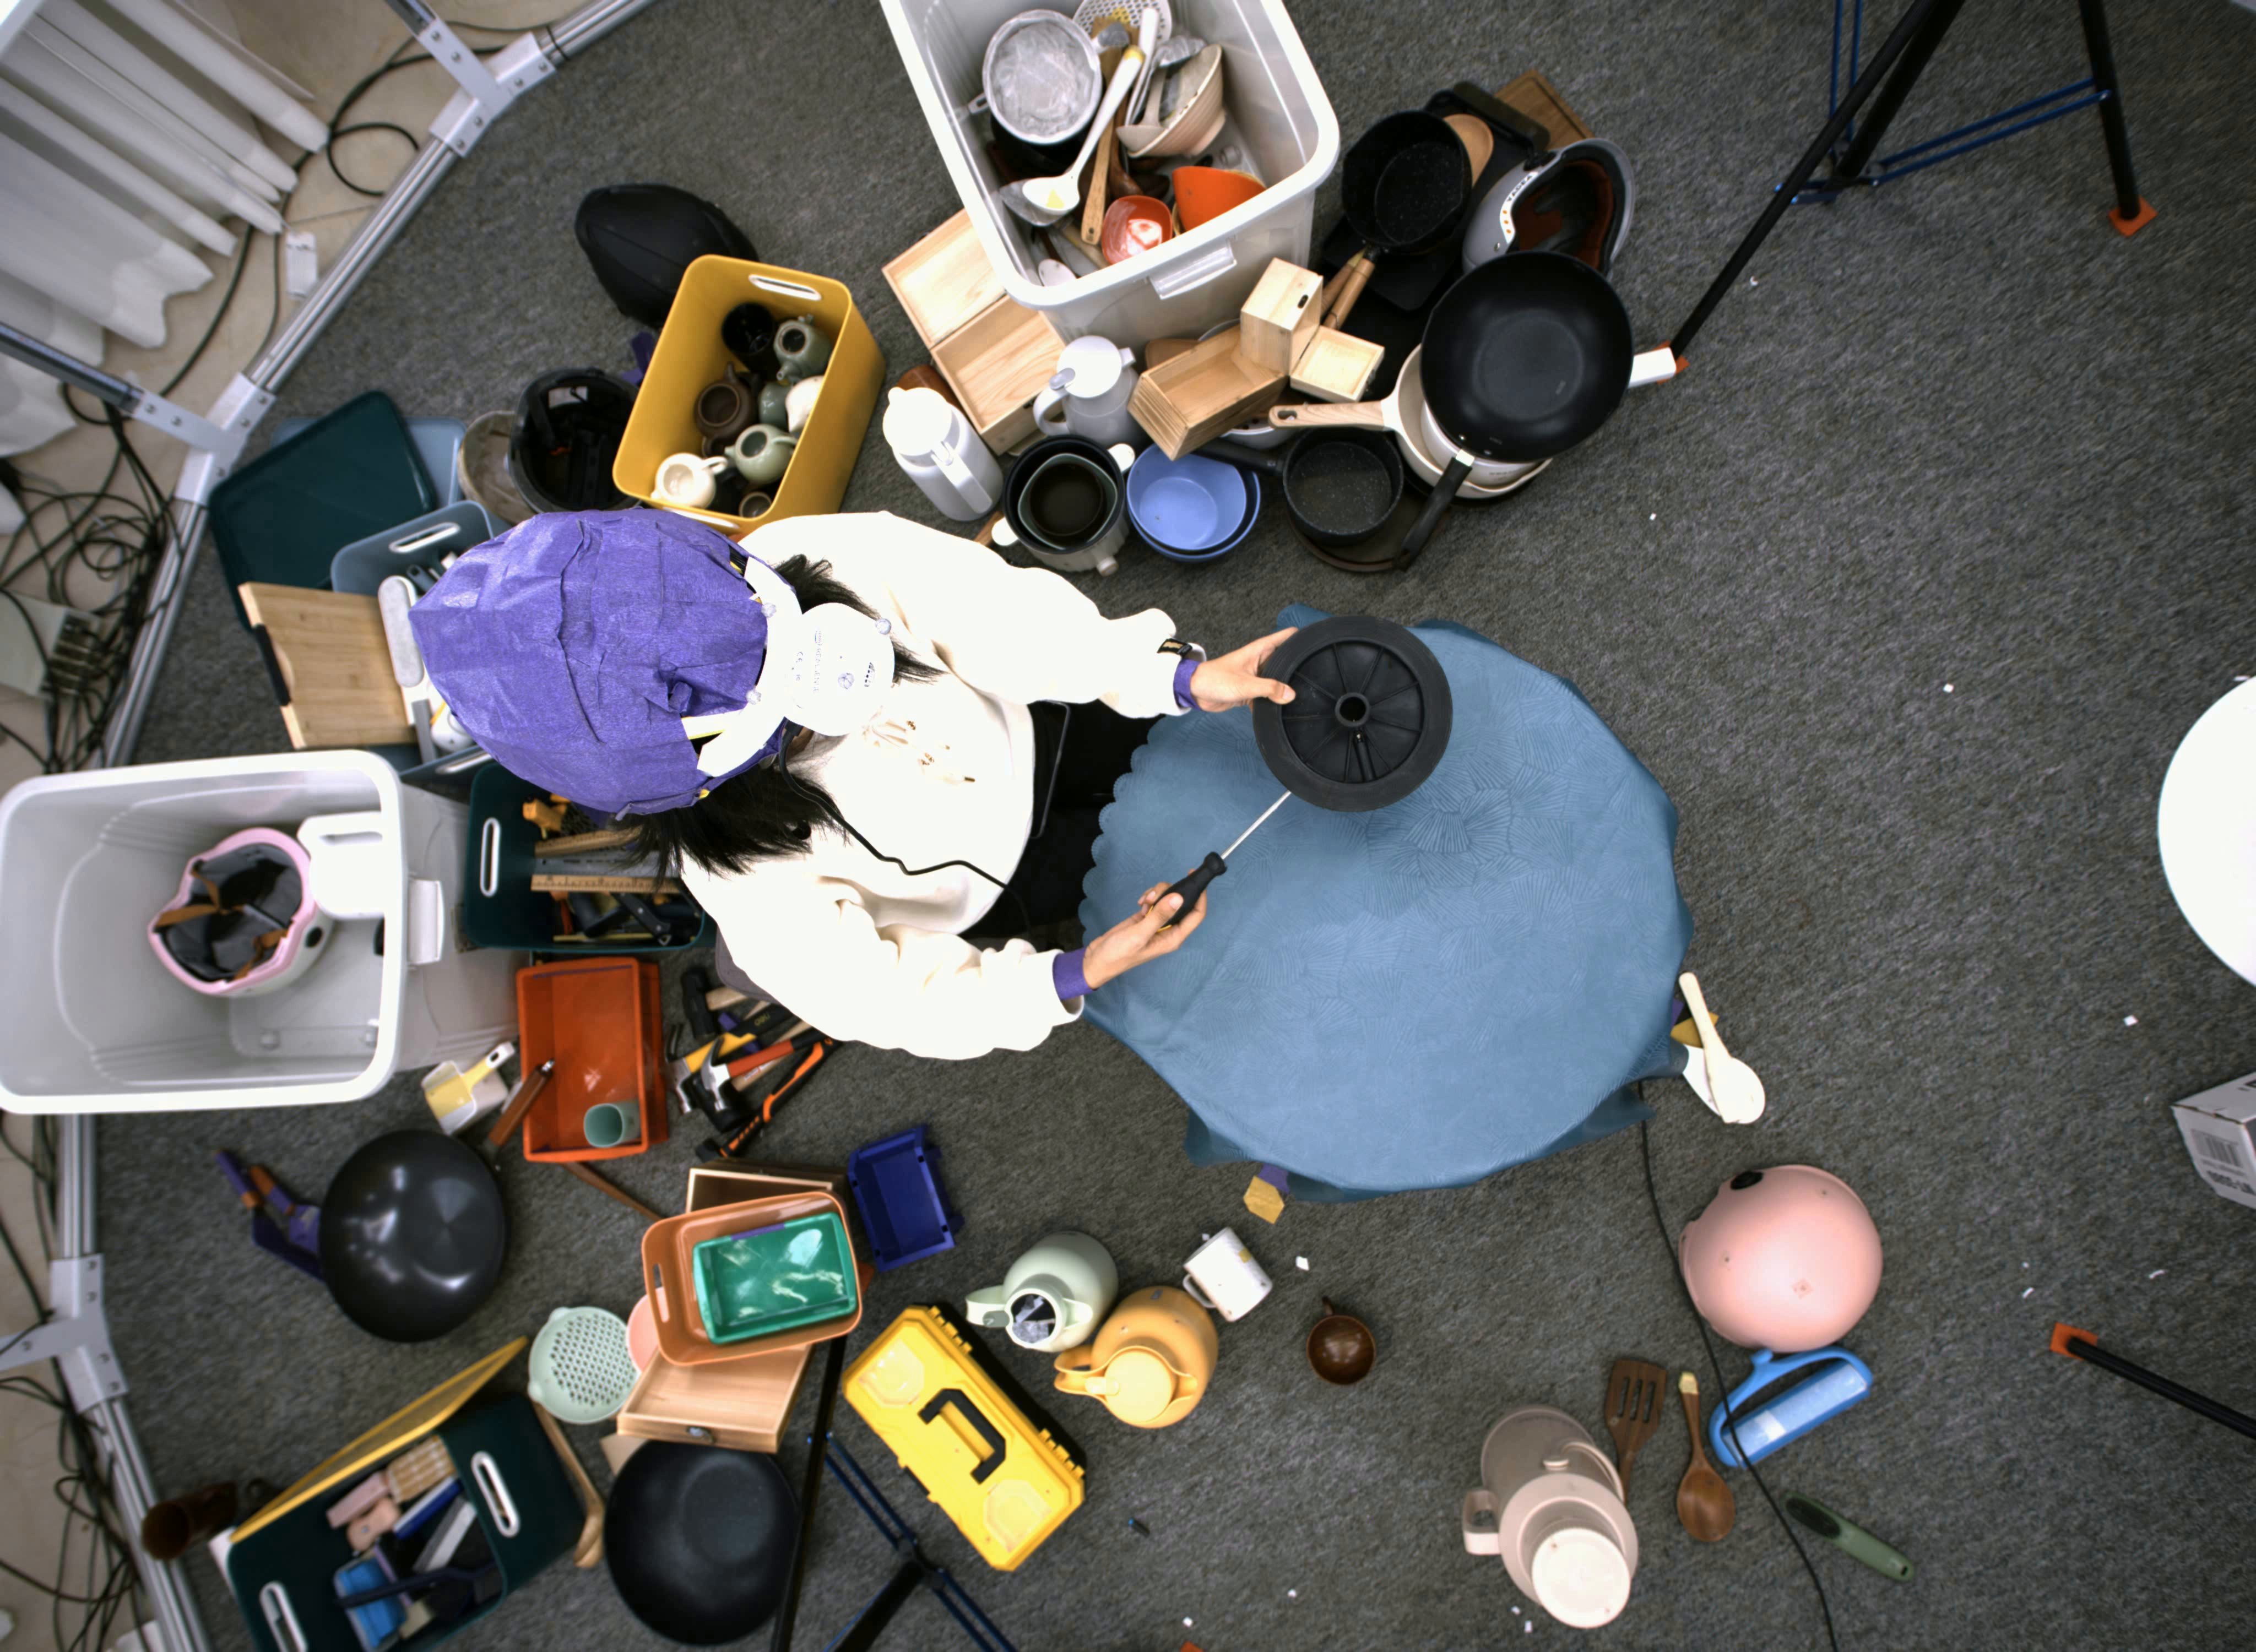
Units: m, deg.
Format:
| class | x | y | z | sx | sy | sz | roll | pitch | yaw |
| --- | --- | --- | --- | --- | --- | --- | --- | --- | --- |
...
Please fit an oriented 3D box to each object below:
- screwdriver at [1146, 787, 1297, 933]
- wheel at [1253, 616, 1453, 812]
| class | x | y | z | sx | sy | sz | roll | pitch | yaw |
| --- | --- | --- | --- | --- | --- | --- | --- | --- | --- |
| screwdriver | 0.089 | 0.031 | 1.311 | 0.200 | 0.031 | 0.031 | -44 | 79 | 16 |
| wheel | 0.211 | -0.106 | 1.288 | 0.189 | 0.078 | 0.190 | -38 | 89 | 9 |
